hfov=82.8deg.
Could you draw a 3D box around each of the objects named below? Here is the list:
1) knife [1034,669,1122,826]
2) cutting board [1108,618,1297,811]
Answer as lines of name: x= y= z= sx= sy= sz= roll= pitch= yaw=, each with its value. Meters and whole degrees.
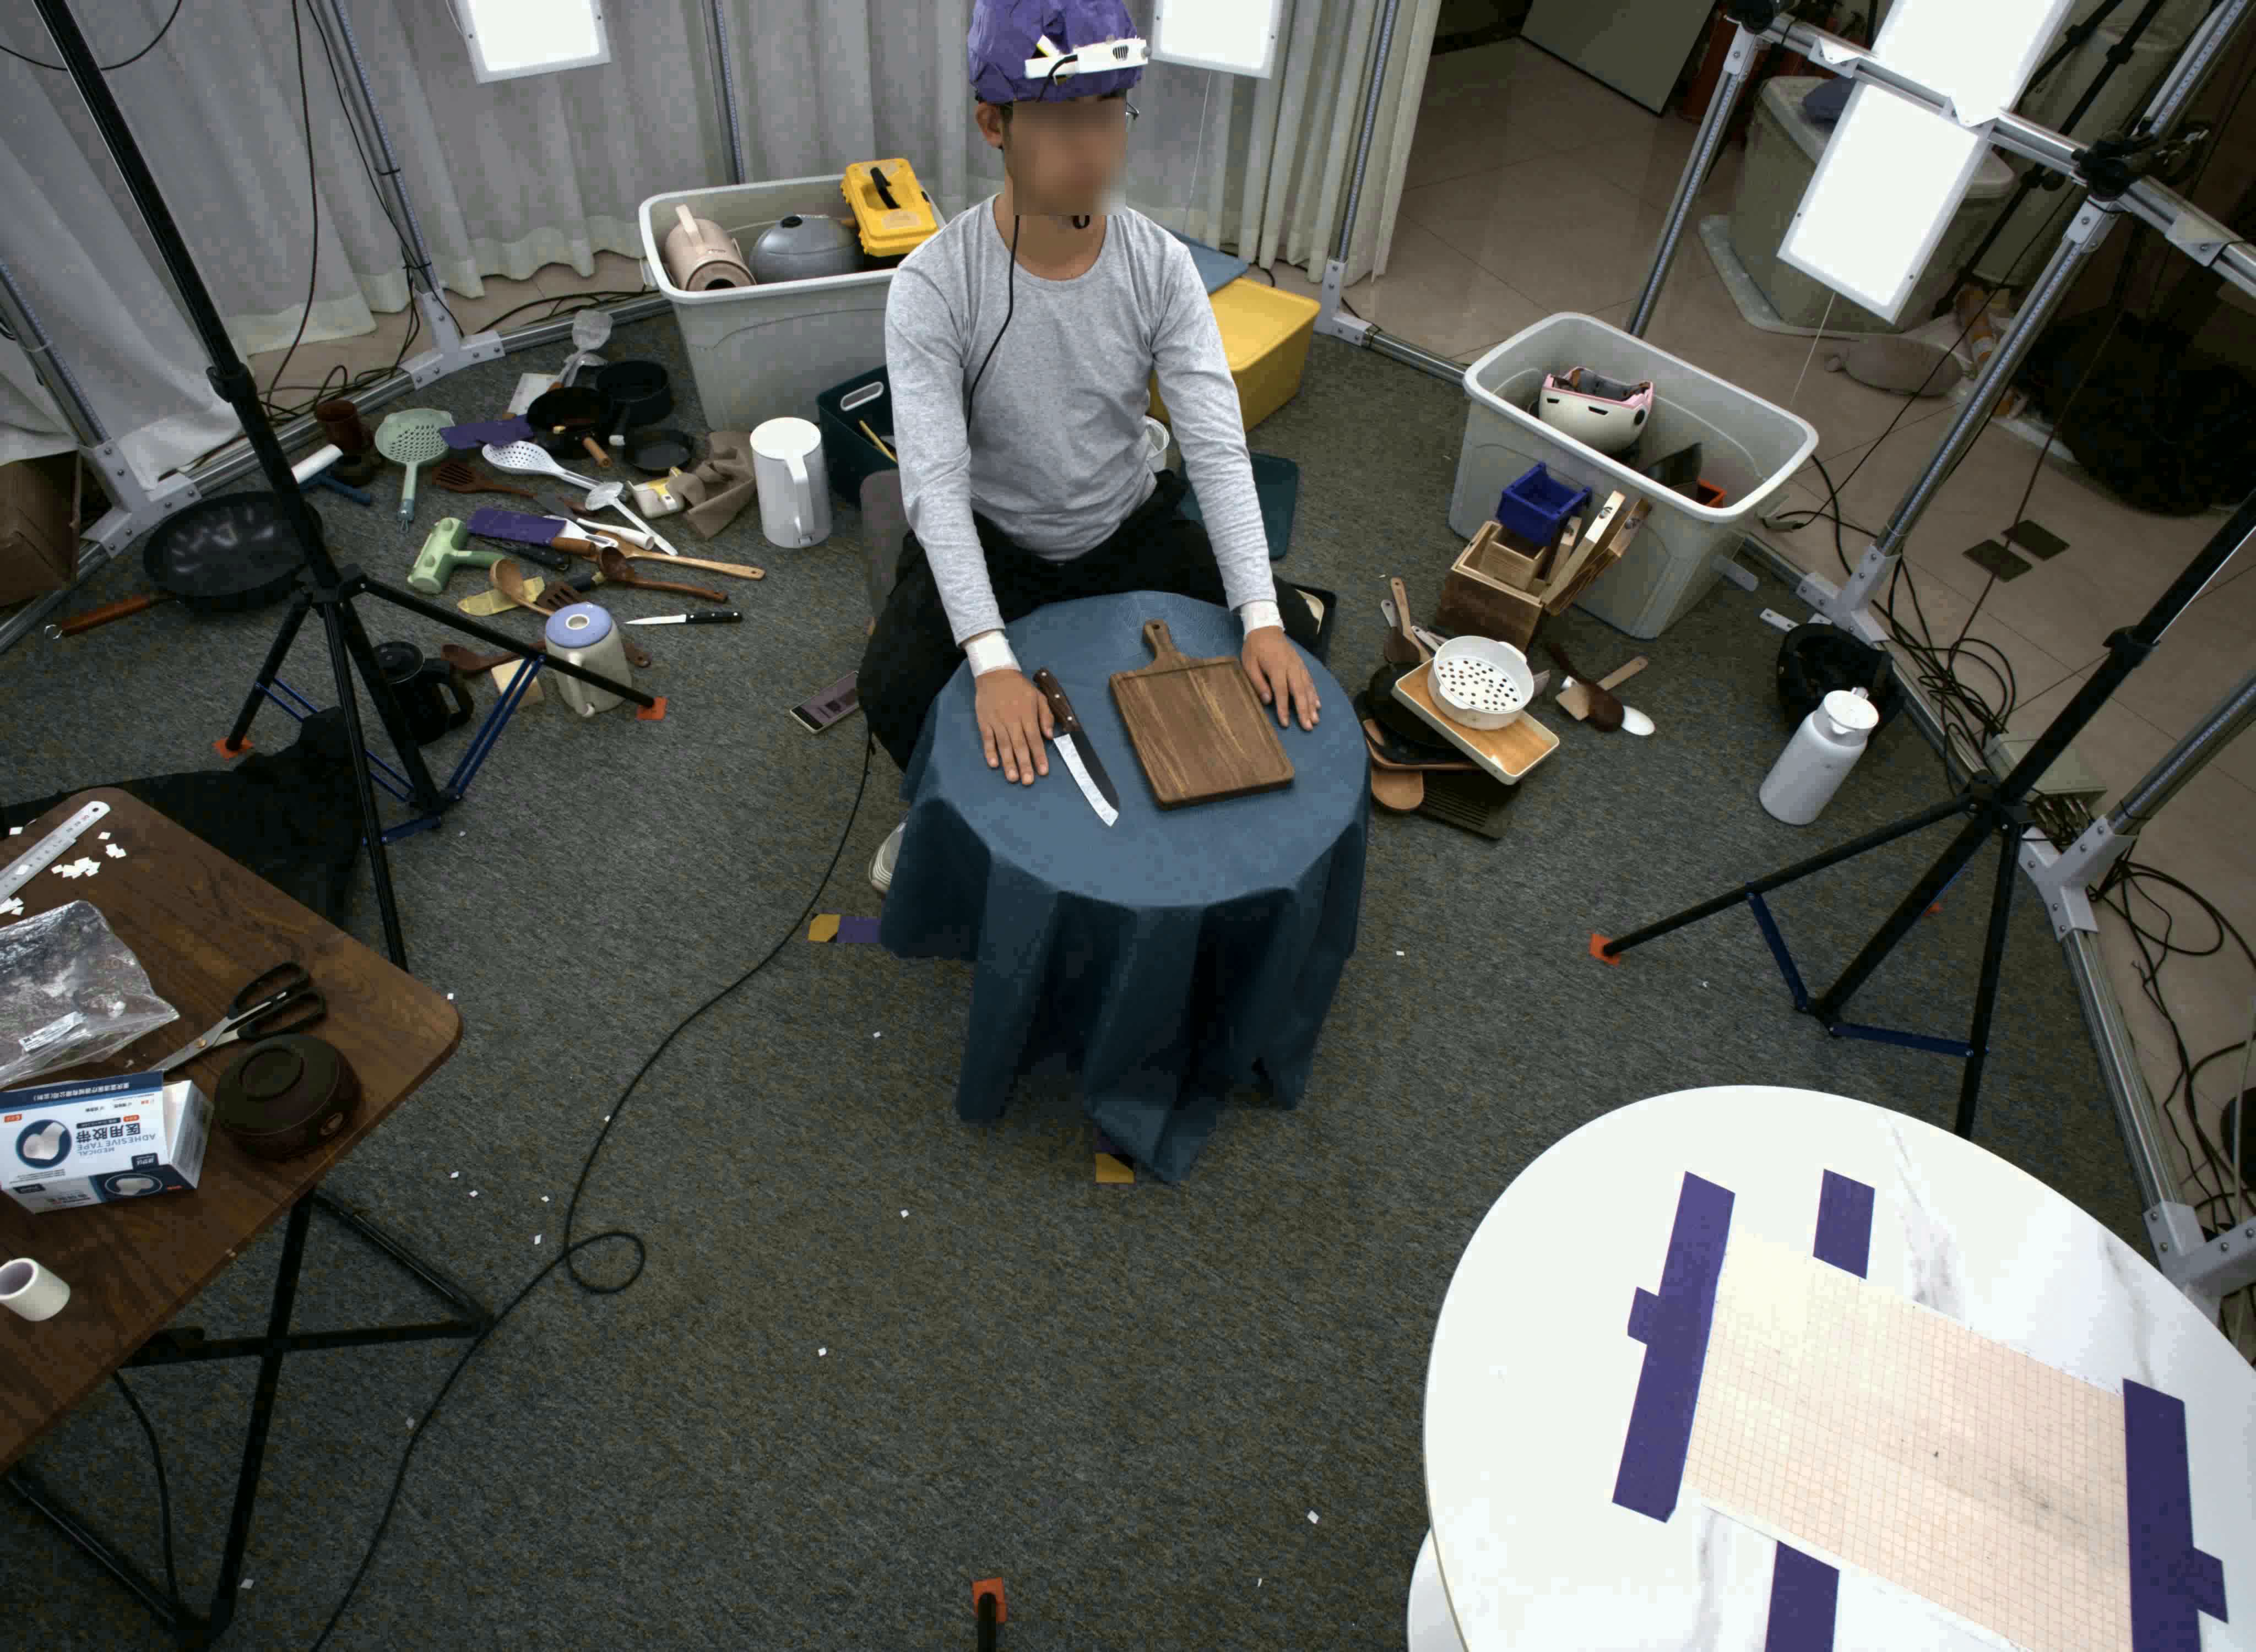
knife: x=-0.071 y=-0.110 z=1.748 sx=0.050 sy=0.019 sz=0.296 roll=-18 pitch=55 yaw=-12
cutting board: x=0.086 y=-0.173 z=1.810 sx=0.201 sy=0.022 sz=0.361 roll=-10 pitch=51 yaw=-13
